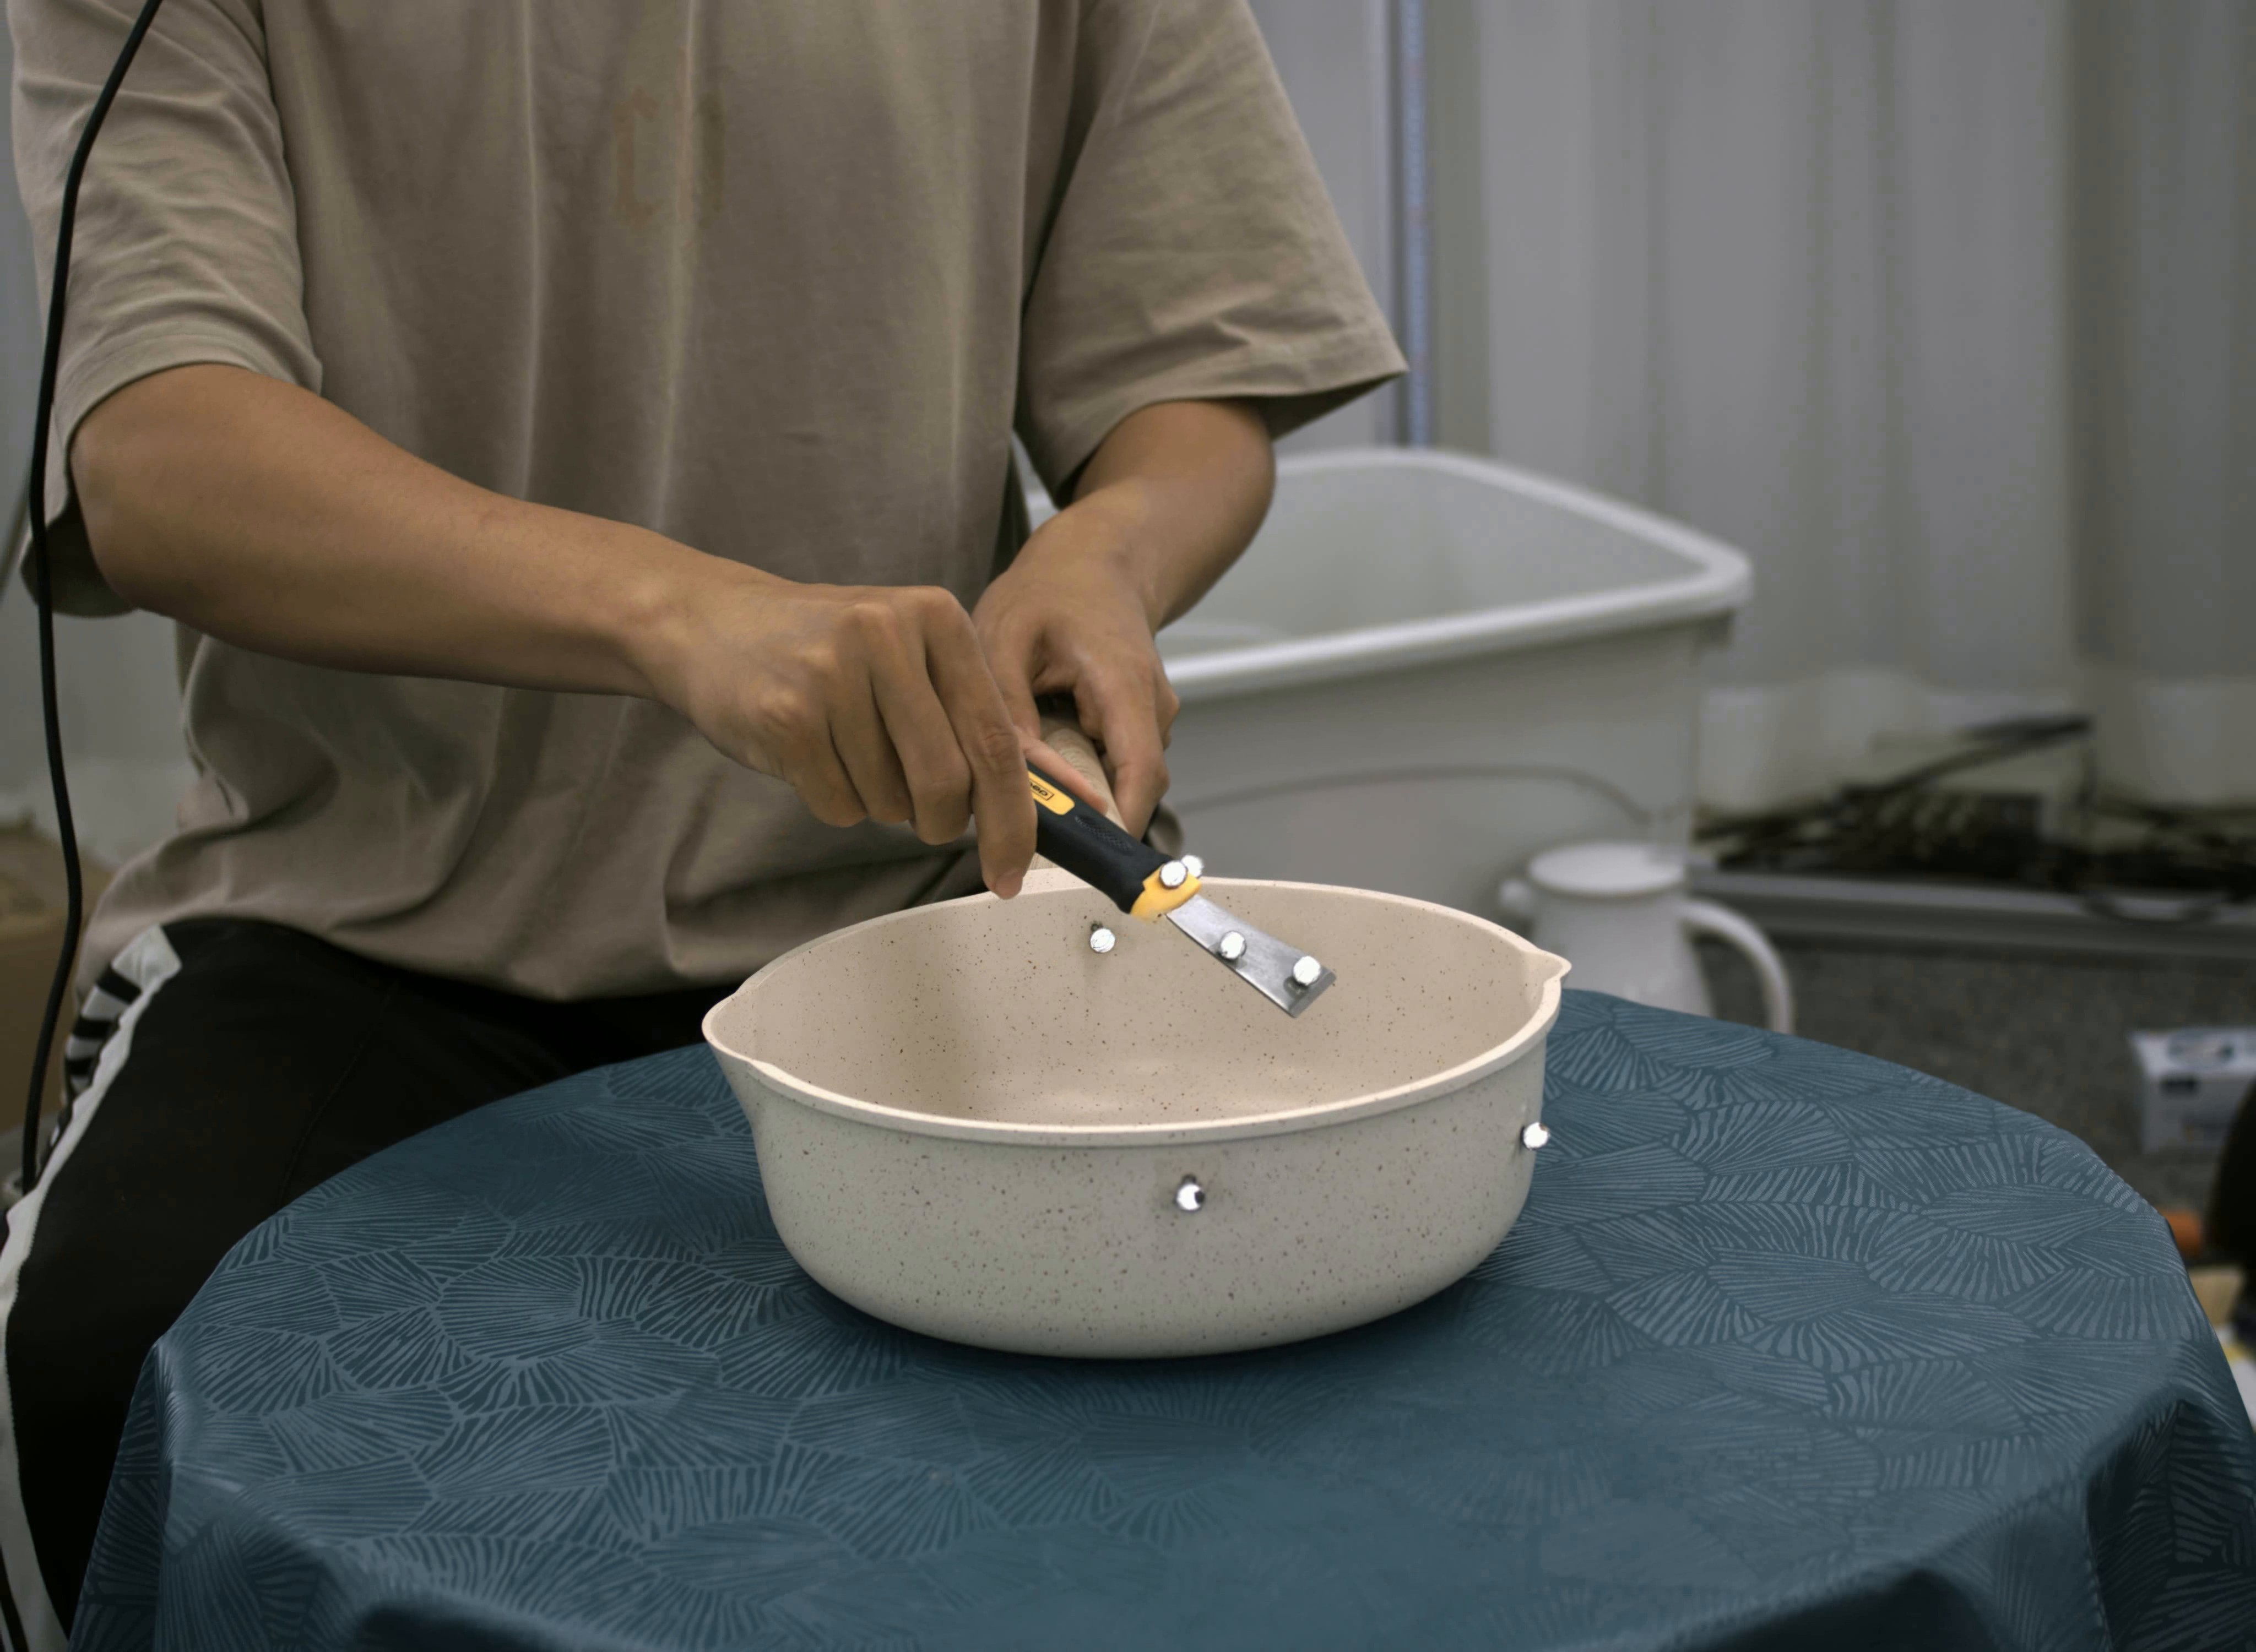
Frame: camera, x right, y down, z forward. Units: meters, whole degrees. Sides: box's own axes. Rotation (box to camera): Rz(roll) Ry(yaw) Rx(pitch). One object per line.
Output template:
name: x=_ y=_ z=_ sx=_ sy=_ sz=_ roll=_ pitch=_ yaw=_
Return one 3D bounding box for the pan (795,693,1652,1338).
pan: x=0.020 y=0.054 z=1.739 sx=0.262 sy=0.101 sz=0.438 roll=-7 pitch=15 yaw=-6

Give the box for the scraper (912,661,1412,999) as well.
scraper: x=0.008 y=0.000 z=1.658 sx=0.171 sy=0.015 sz=0.039 roll=32 pitch=36 yaw=9
